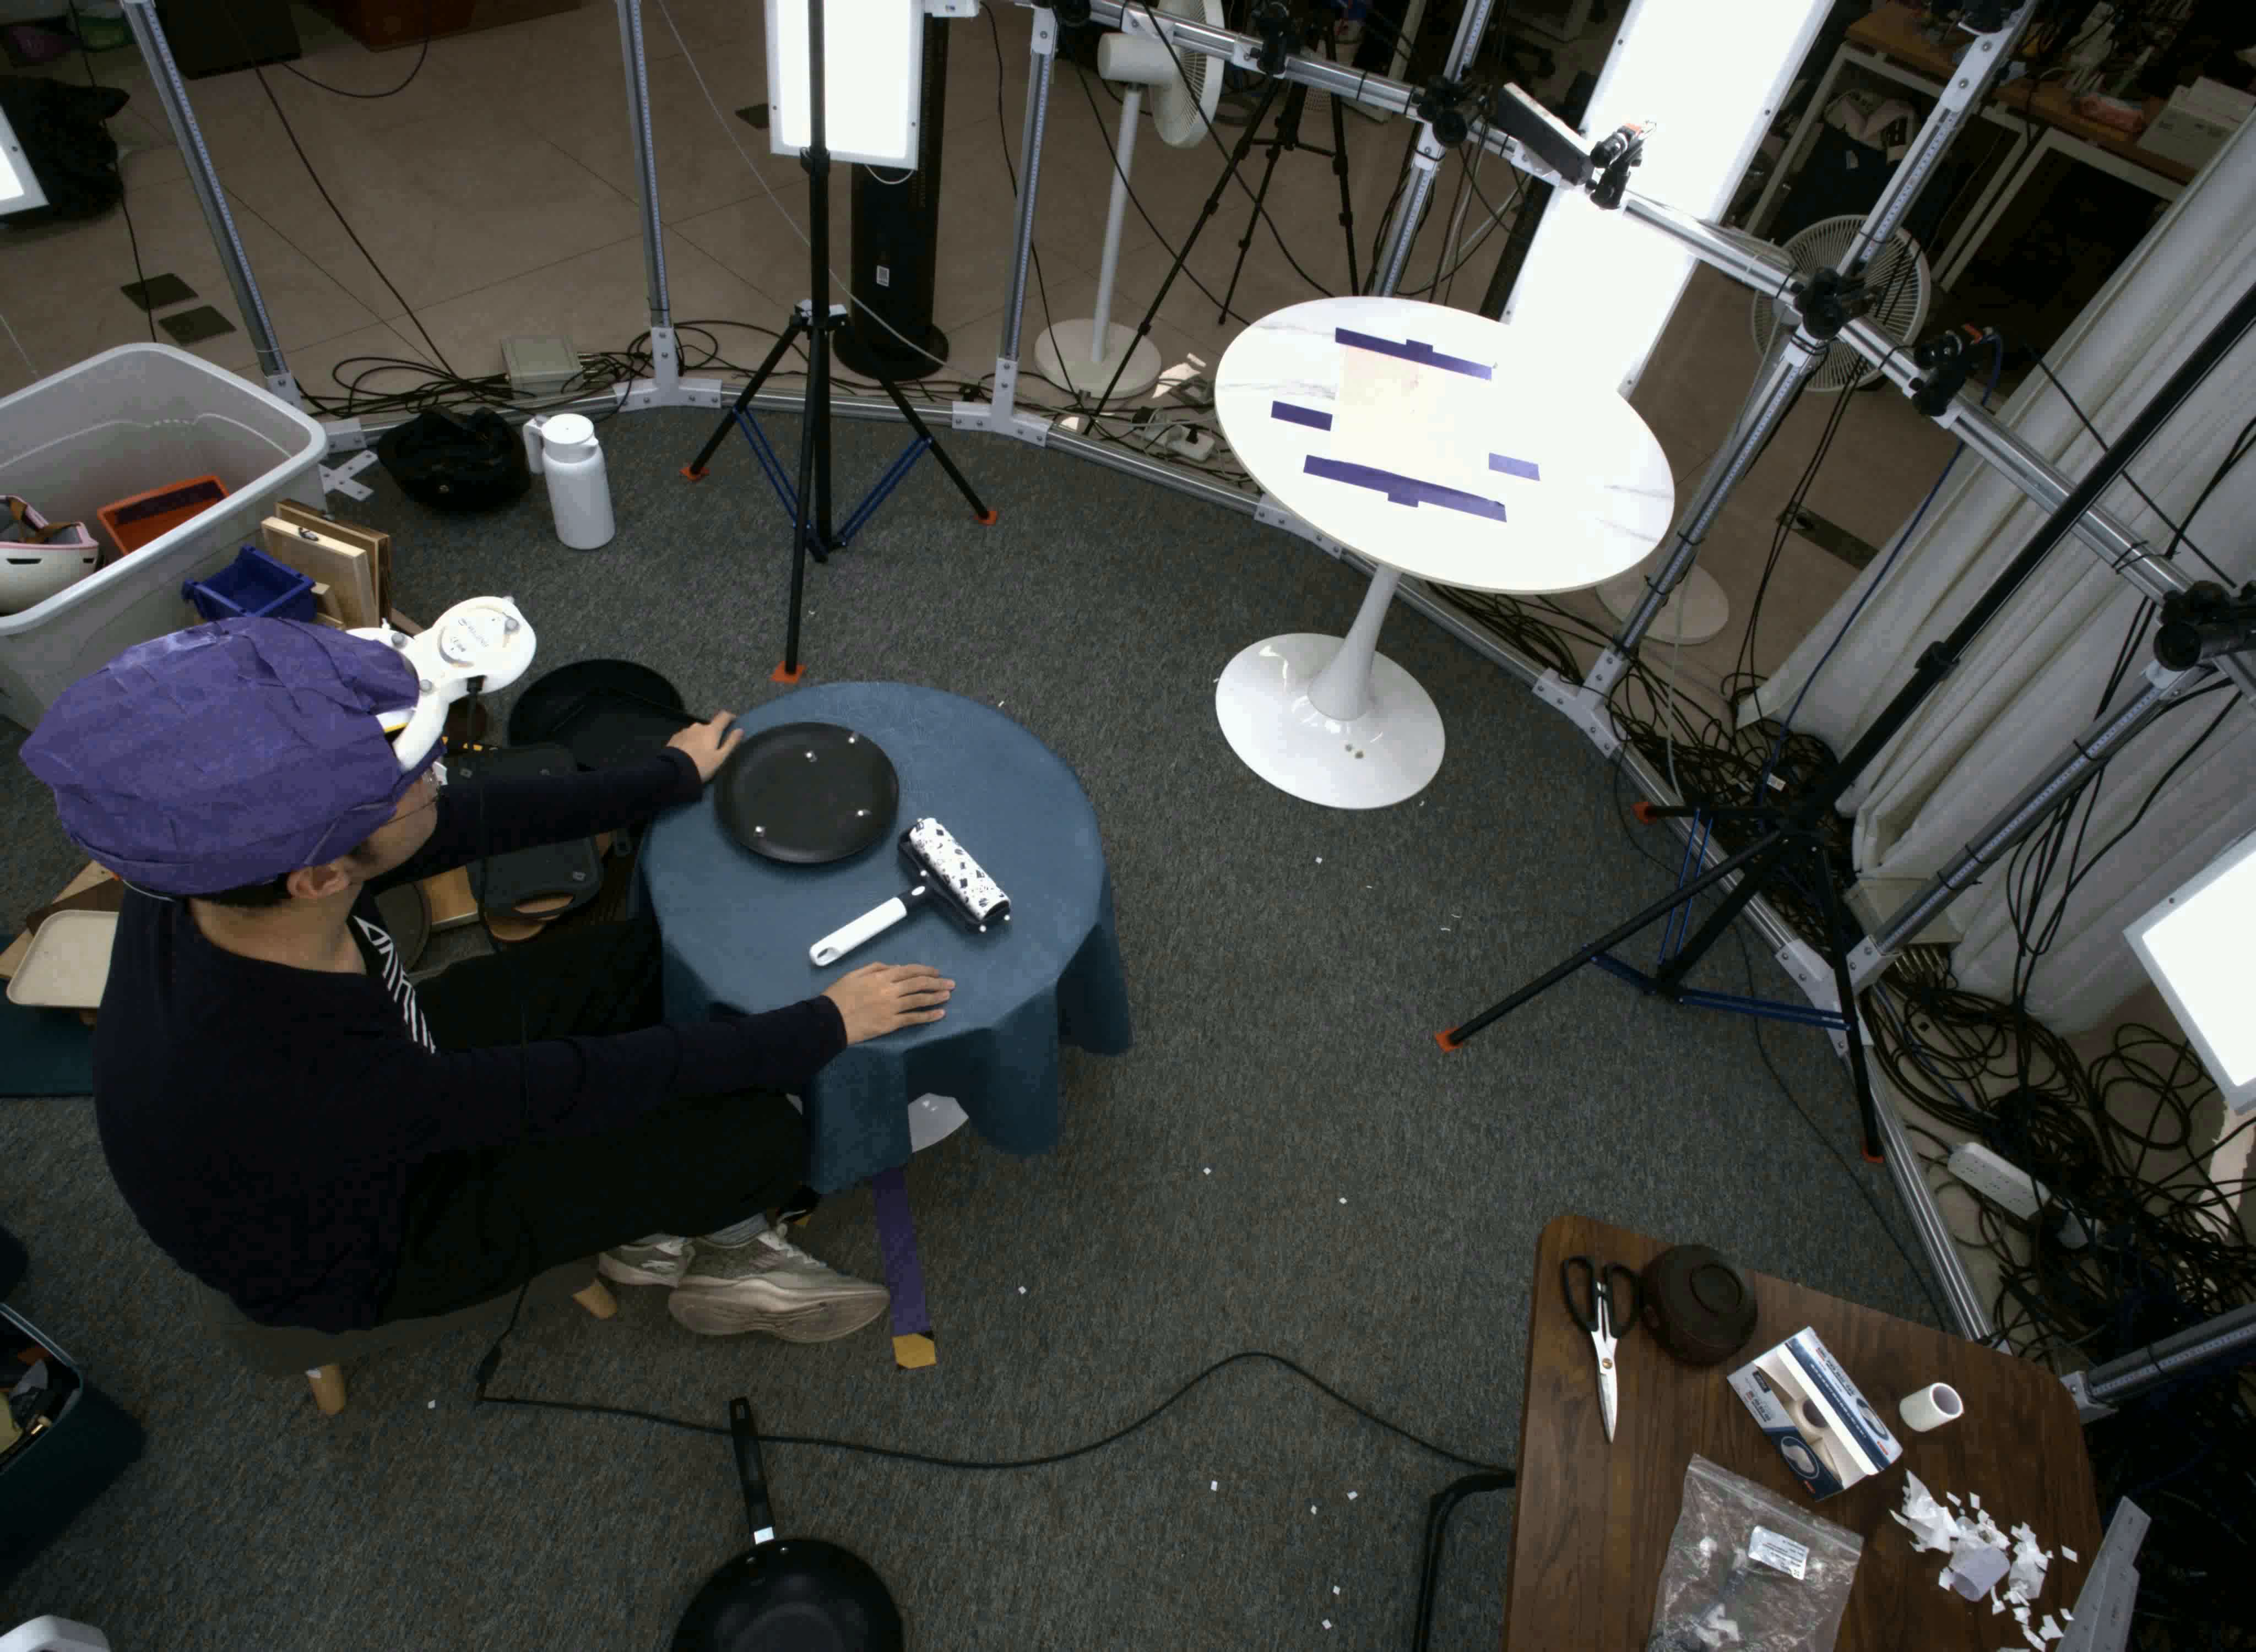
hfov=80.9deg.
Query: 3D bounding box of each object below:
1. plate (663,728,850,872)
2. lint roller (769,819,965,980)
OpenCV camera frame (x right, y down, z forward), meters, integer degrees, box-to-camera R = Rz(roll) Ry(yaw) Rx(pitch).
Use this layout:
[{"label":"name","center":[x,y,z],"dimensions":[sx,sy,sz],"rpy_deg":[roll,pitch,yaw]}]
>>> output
[{"label":"plate","center":[-0.495,-0.033,1.728],"dimensions":[0.244,0.024,0.240],"rpy_deg":[8,53,-9]},{"label":"lint roller","center":[-0.350,0.110,1.647],"dimensions":[0.172,0.051,0.247],"rpy_deg":[43,59,17]}]
